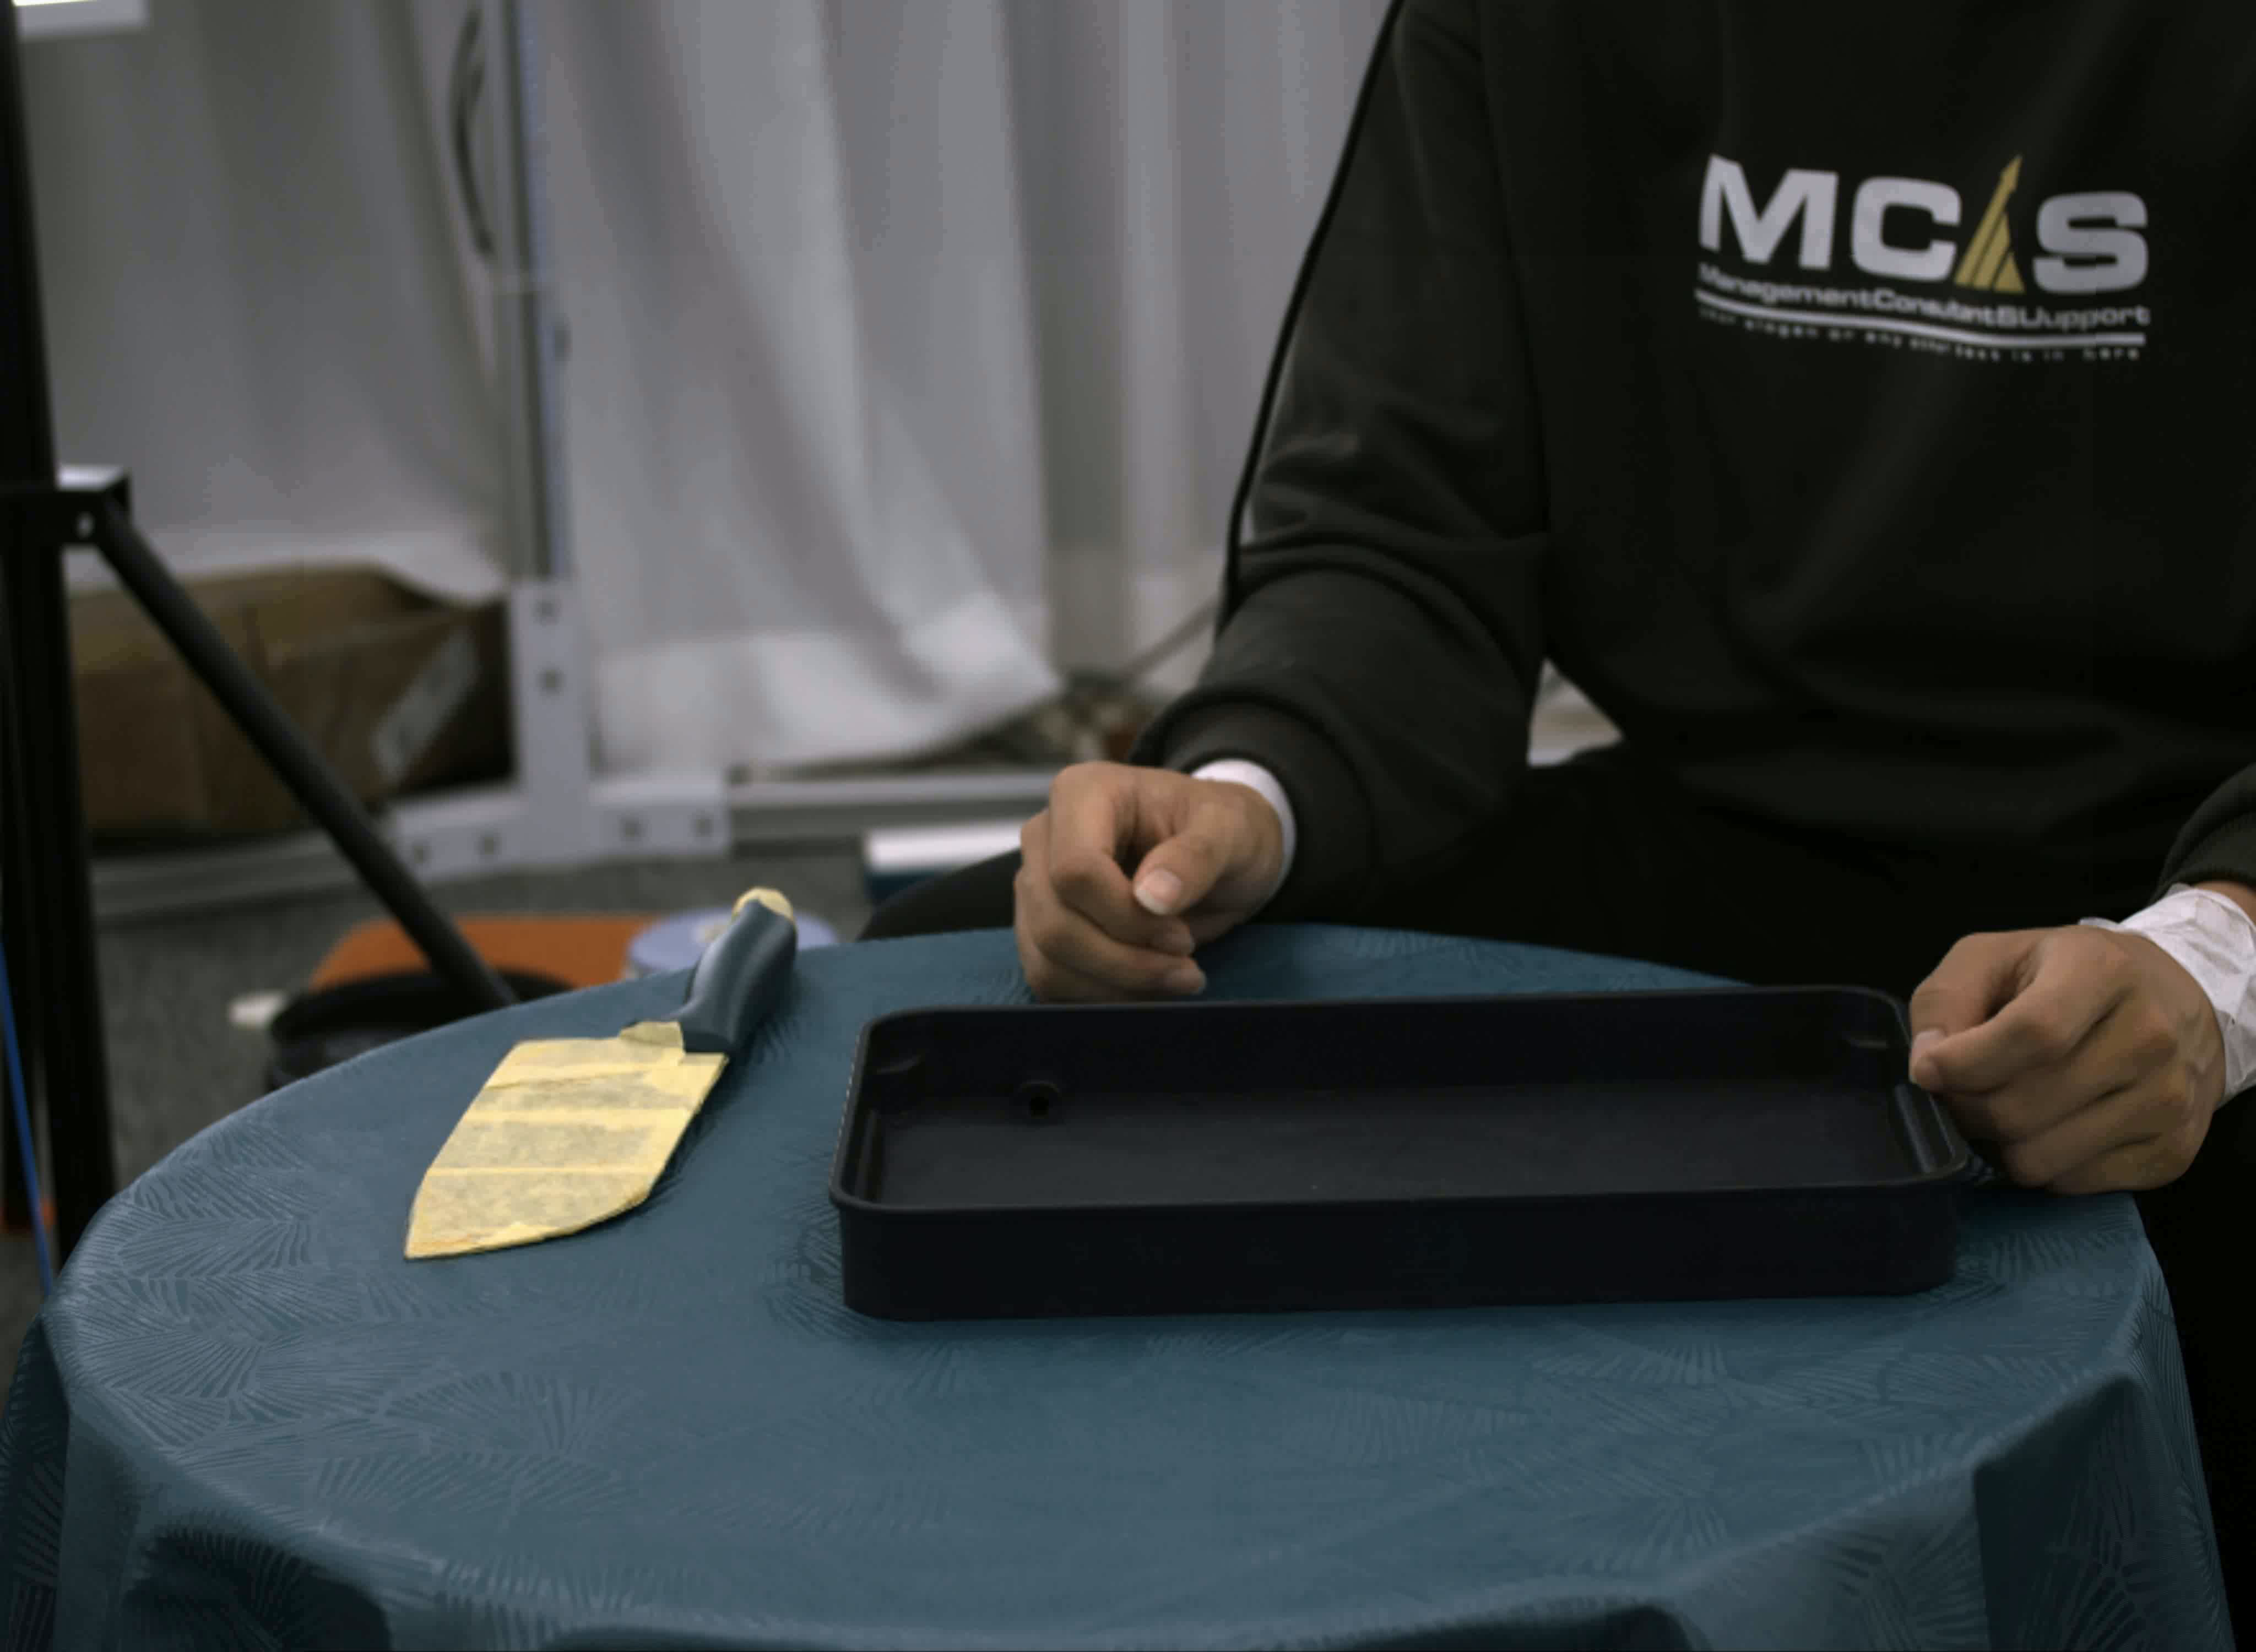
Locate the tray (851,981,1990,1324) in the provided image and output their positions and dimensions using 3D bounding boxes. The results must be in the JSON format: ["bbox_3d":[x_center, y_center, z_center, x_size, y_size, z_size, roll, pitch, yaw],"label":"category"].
[{"bbox_3d":[0.081,0.093,1.539,0.317,0.037,0.185,-2,15,2],"label":"tray"}]

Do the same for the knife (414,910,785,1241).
[{"bbox_3d":[-0.160,0.078,1.667,0.081,0.027,0.288,2,17,11],"label":"knife"}]
